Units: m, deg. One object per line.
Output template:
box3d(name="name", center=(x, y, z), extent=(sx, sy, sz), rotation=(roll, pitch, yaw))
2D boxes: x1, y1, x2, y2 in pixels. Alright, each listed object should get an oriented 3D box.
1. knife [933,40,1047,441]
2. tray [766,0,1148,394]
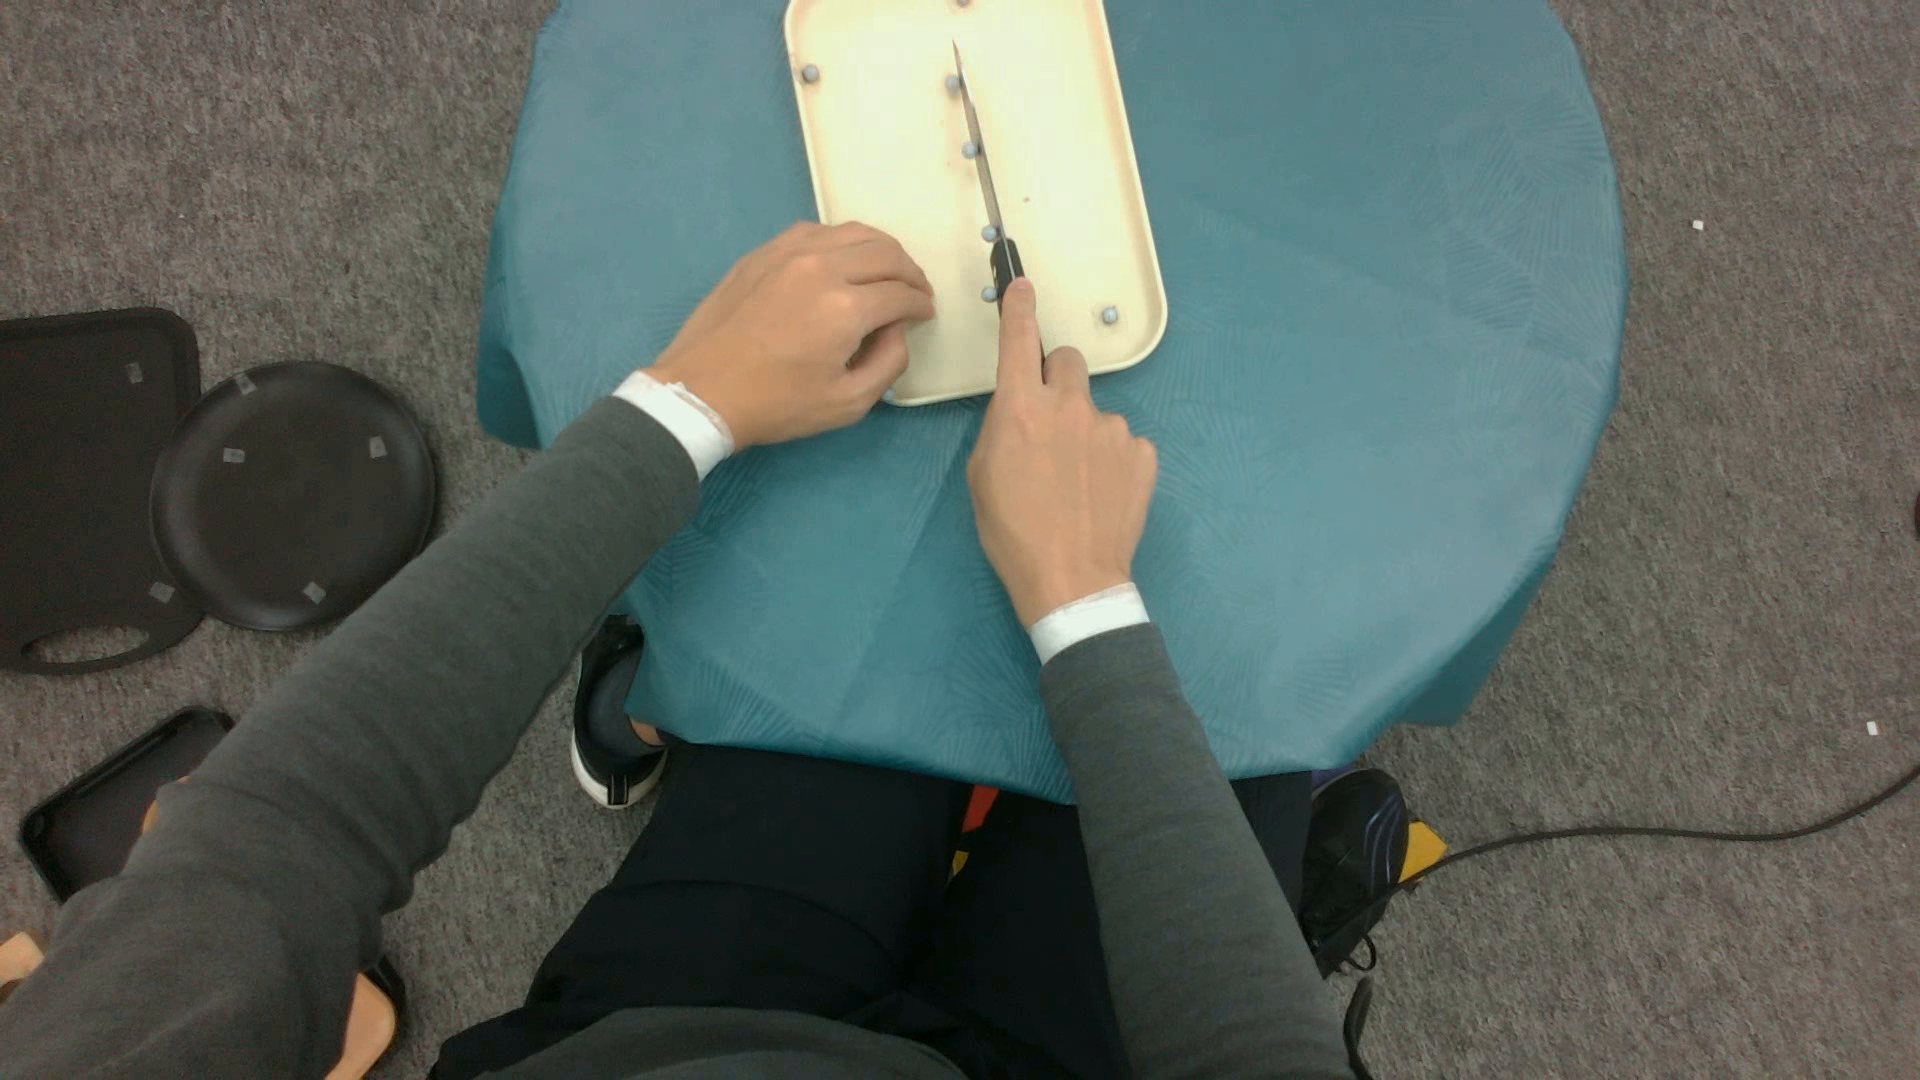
box3d(name="knife", center=(0.011, -0.161, 0.704), extent=(0.016, 0.024, 0.238), rotation=(-10, 71, -10))
box3d(name="tray", center=(-0.003, -0.198, 0.727), extent=(0.171, 0.017, 0.240), rotation=(-10, 81, -7))
